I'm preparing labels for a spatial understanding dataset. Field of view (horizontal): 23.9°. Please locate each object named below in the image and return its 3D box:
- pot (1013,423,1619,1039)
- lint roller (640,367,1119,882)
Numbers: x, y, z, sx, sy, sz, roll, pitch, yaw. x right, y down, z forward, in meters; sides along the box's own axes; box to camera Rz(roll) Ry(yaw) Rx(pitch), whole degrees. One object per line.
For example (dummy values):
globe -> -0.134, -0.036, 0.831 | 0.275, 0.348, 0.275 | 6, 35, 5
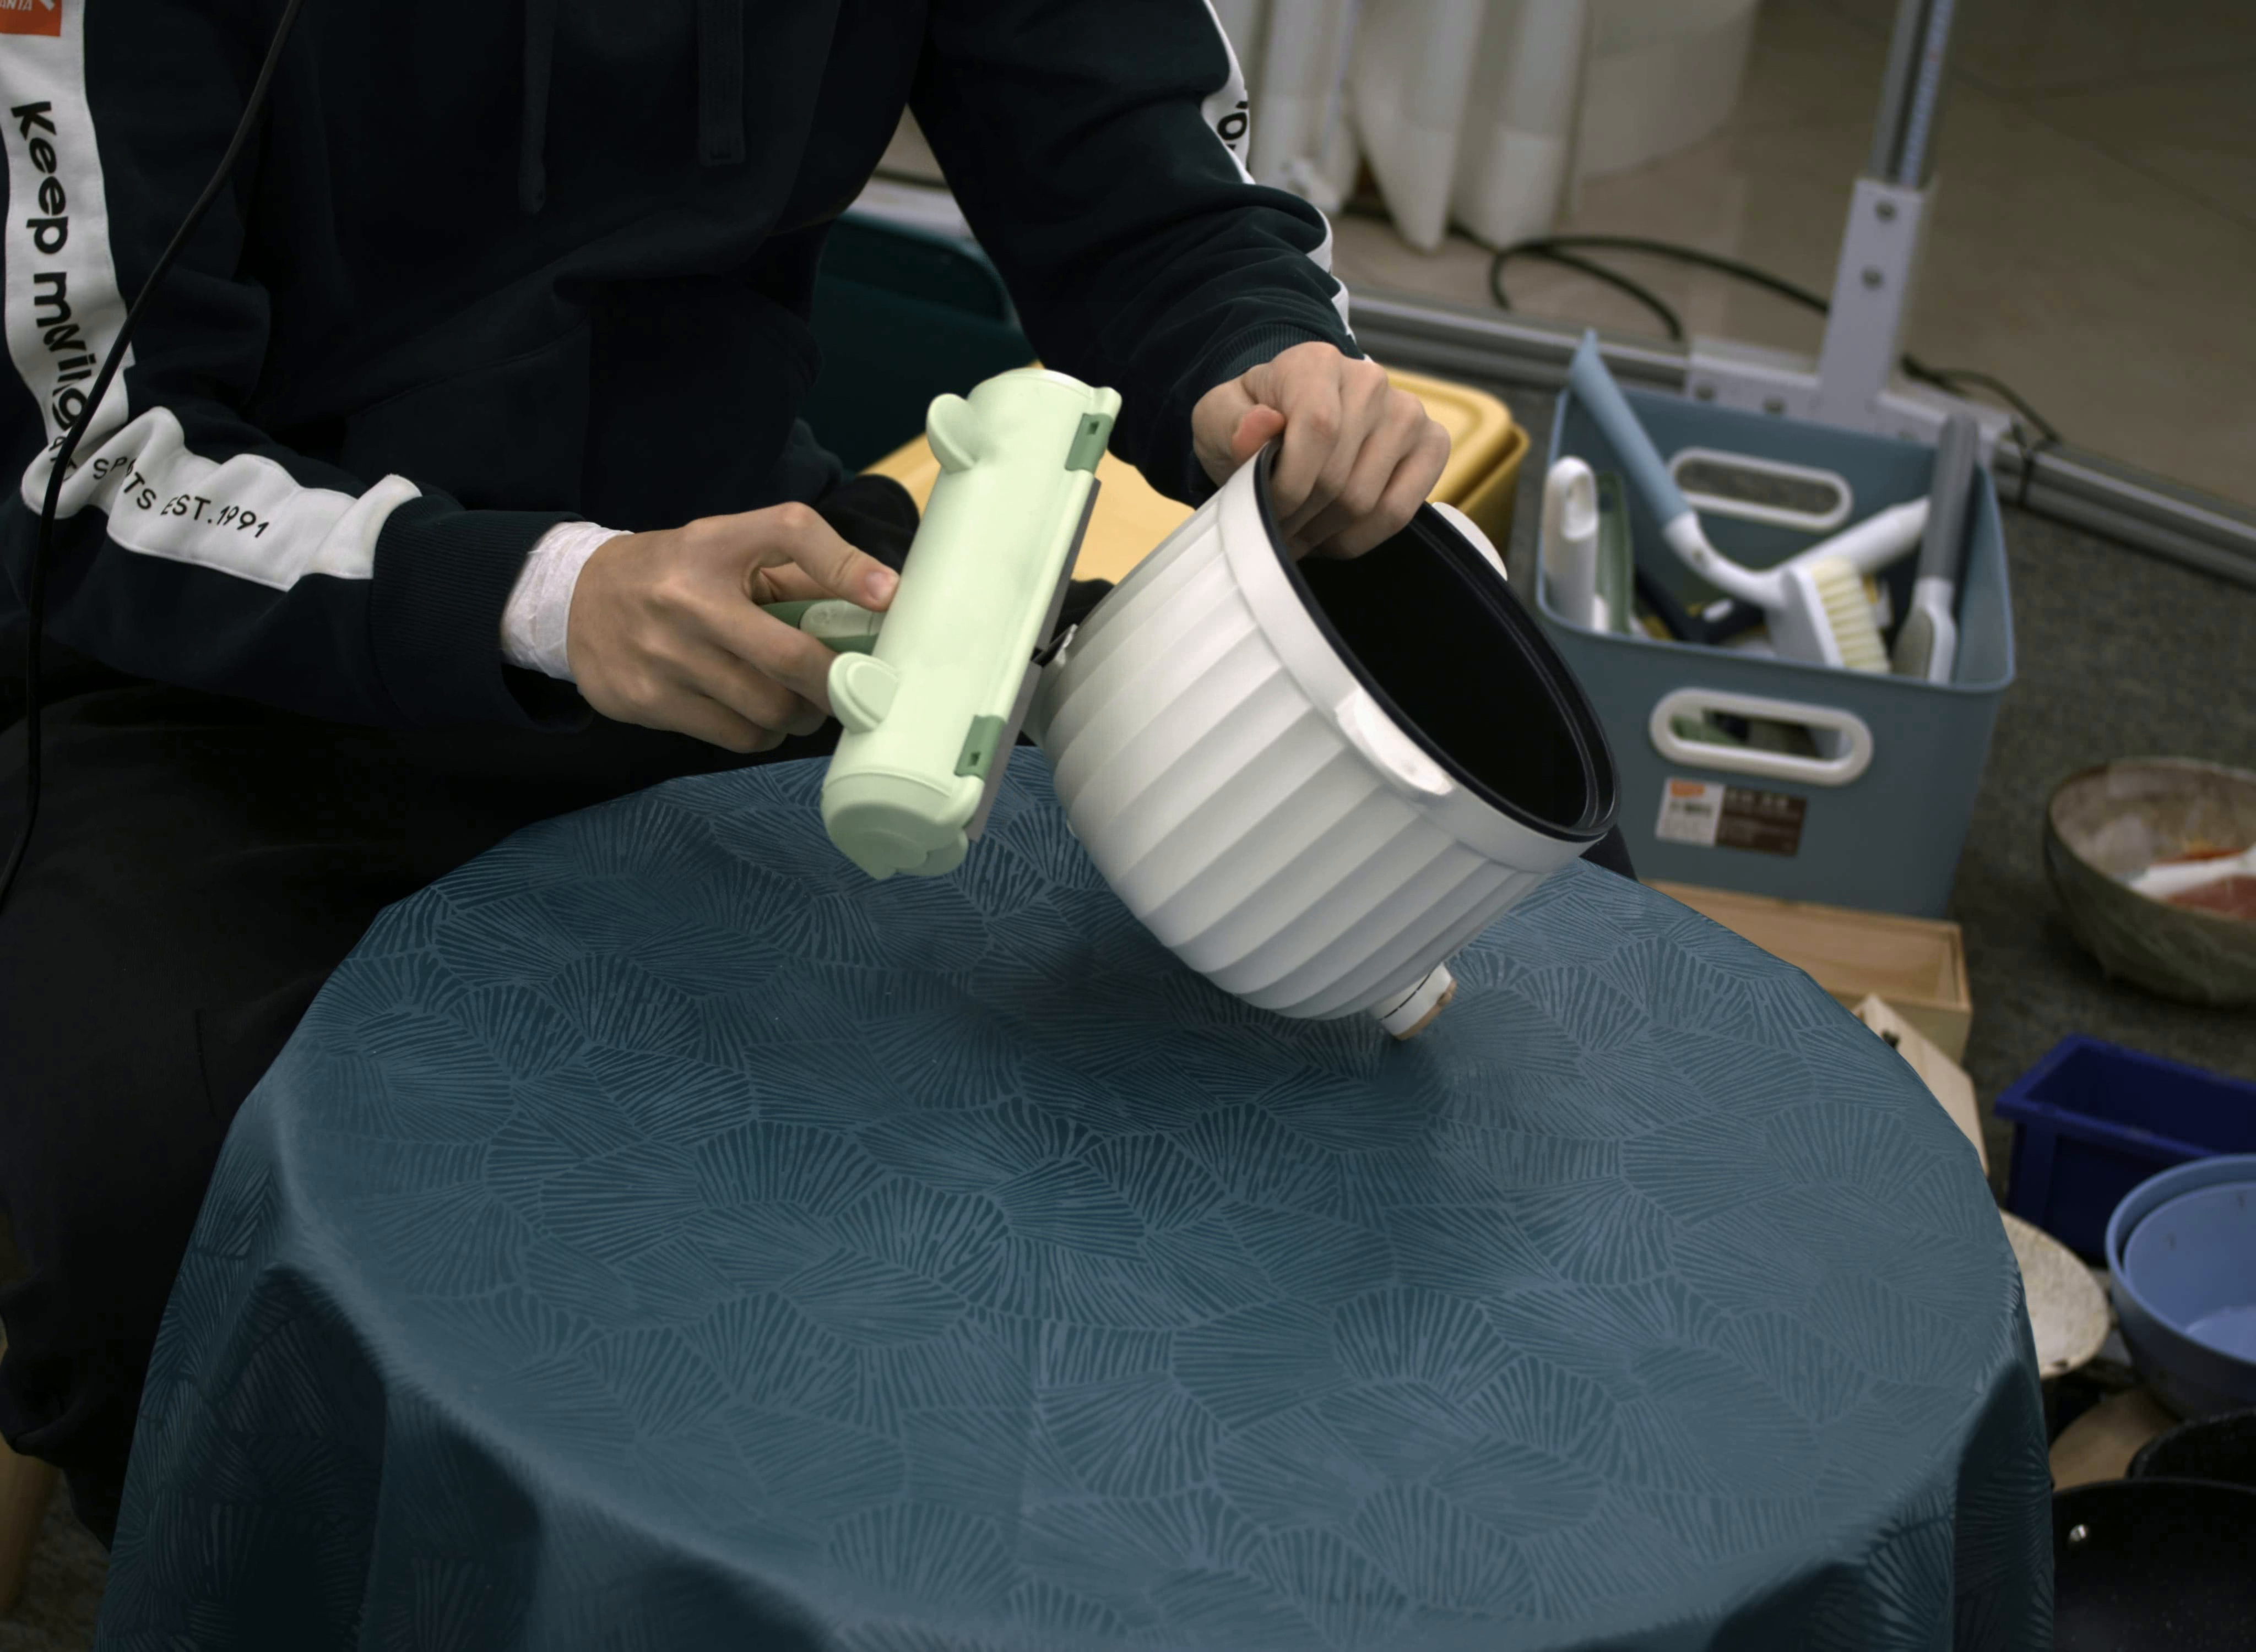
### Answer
pot -> 0.067, -0.025, 1.883 | 0.190, 0.142, 0.241 | 42, 24, -7
lint roller -> -0.107, -0.075, 1.871 | 0.184, 0.081, 0.200 | -1, 52, 28
